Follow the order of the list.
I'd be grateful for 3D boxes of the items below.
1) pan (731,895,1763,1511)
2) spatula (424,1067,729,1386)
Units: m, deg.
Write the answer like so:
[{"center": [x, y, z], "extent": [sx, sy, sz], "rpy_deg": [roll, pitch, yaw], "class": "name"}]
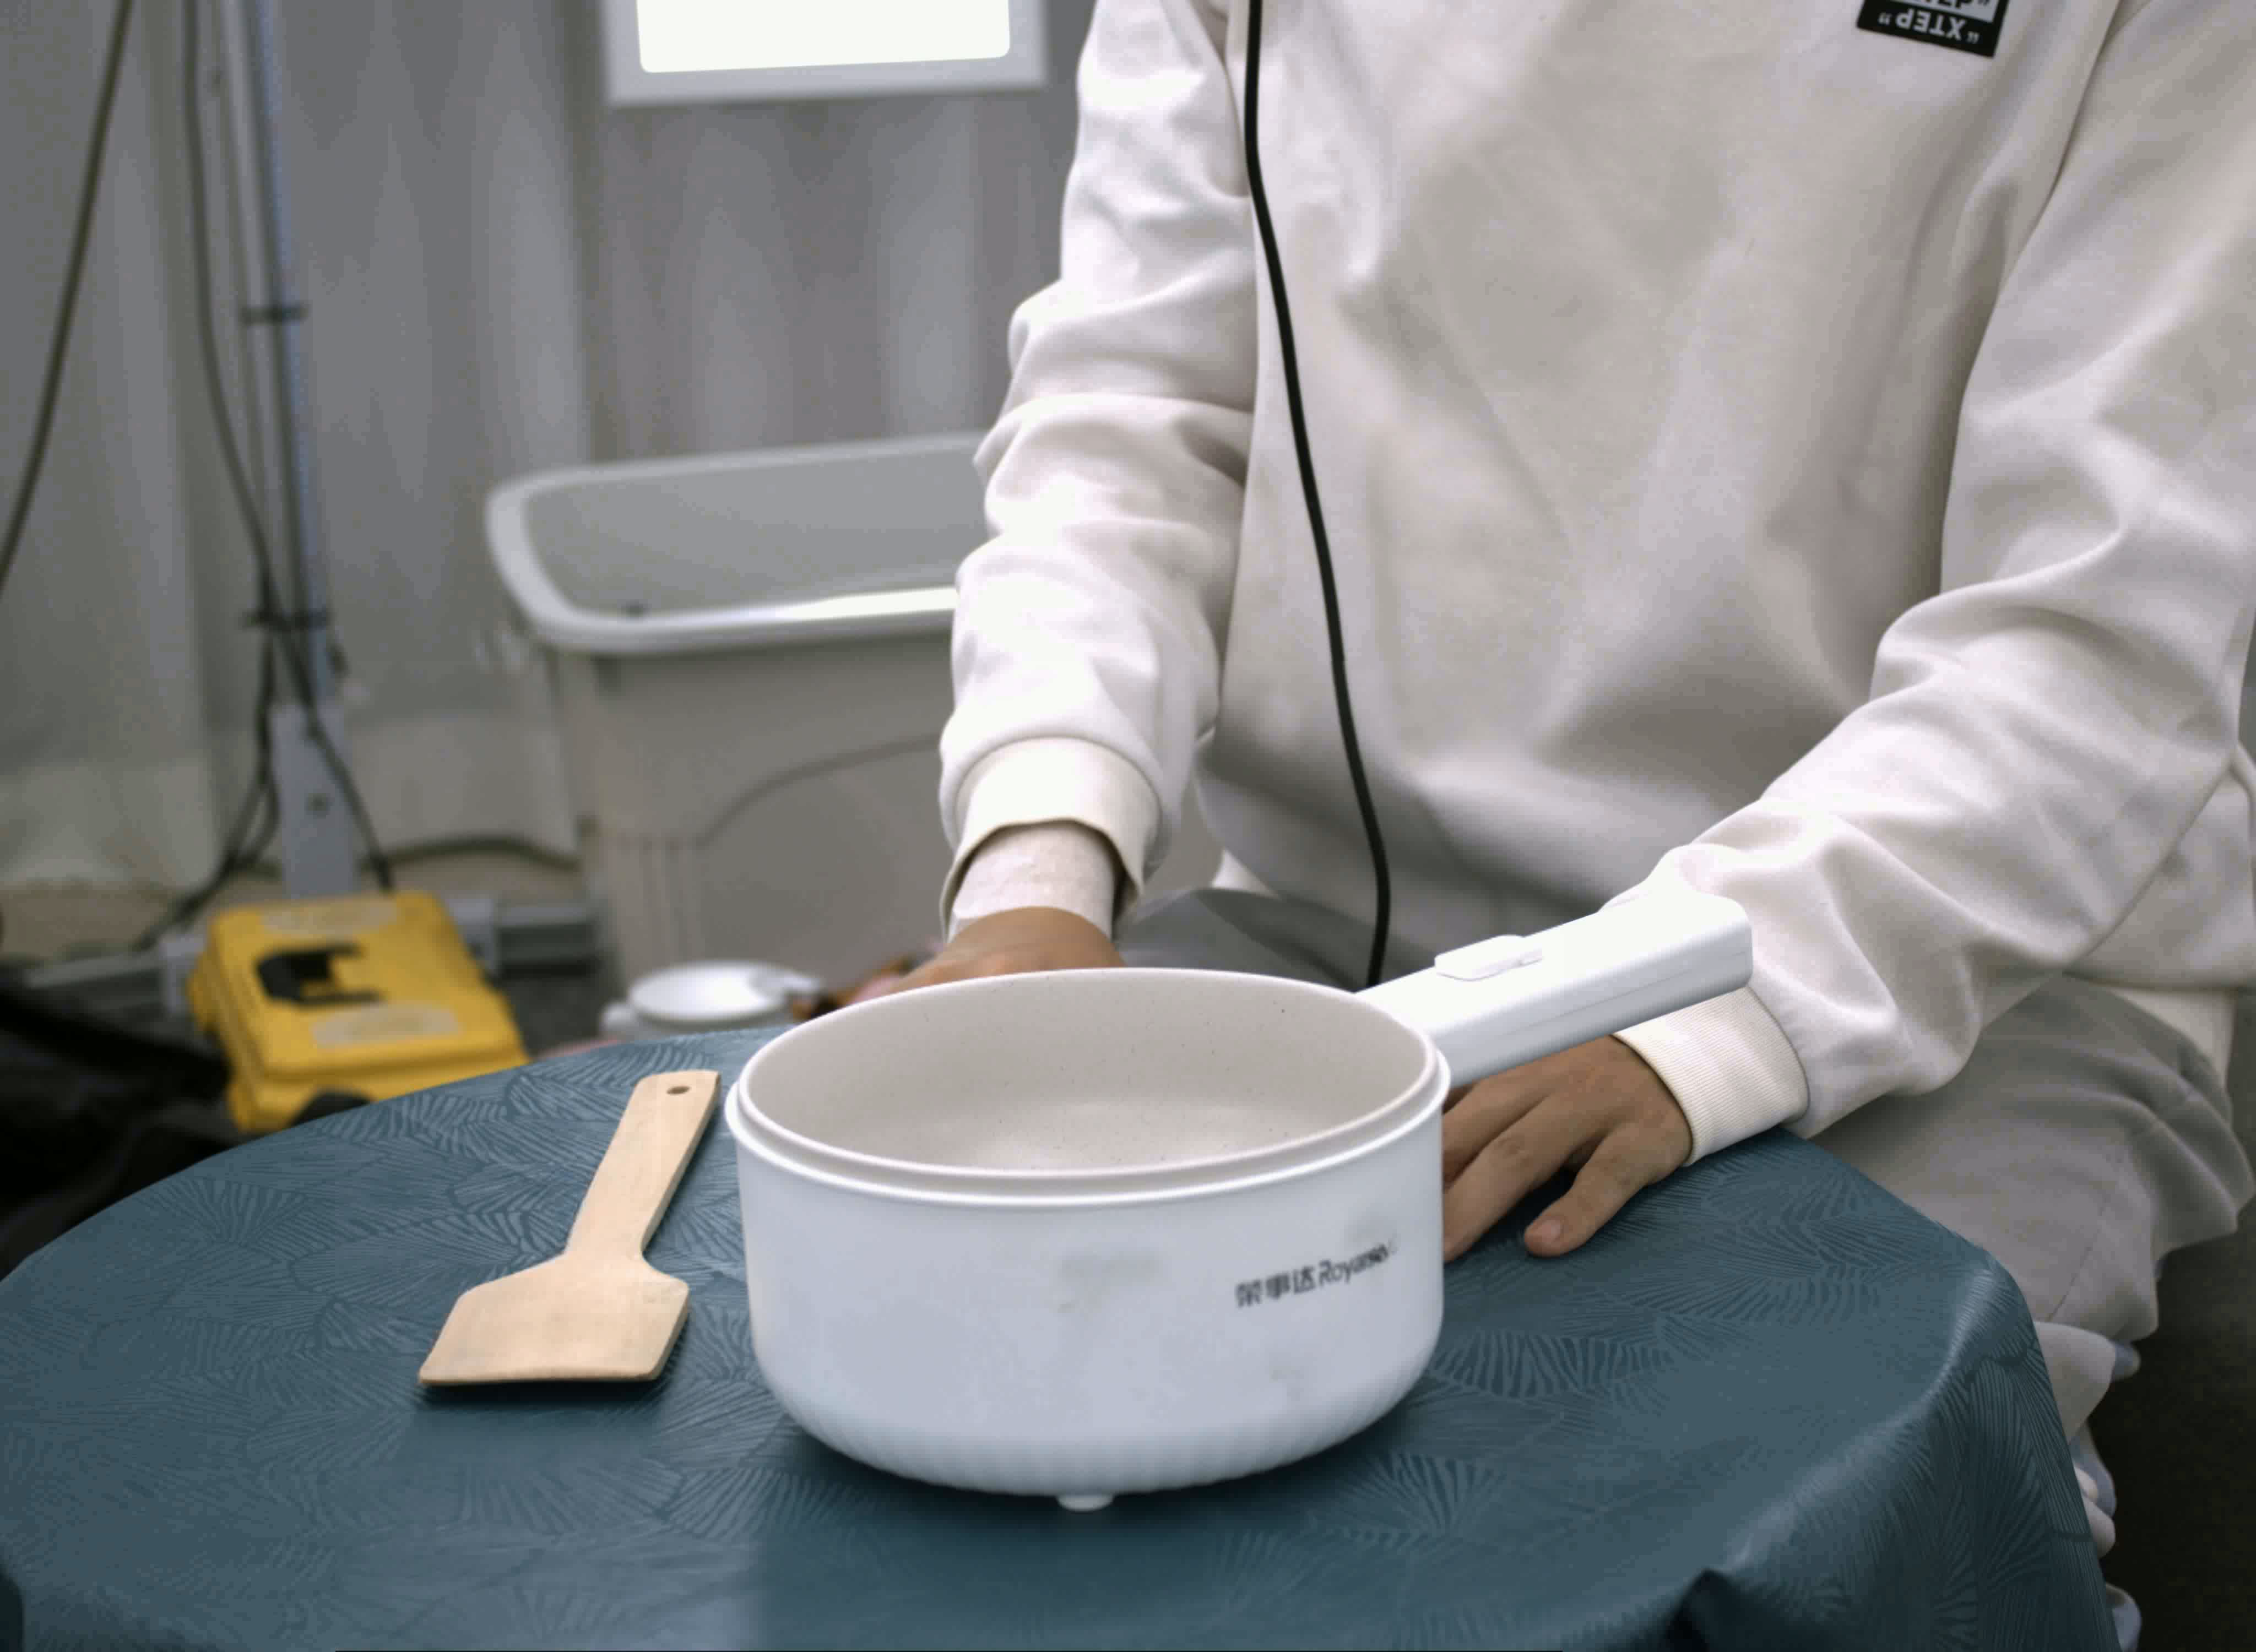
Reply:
[{"center": [0.049, 0.101, 1.573], "extent": [0.354, 0.102, 0.202], "rpy_deg": [-14, 18, -40], "class": "pan"}, {"center": [-0.159, 0.122, 1.701], "extent": [0.072, 0.010, 0.295], "rpy_deg": [-3, 15, 5], "class": "spatula"}]
